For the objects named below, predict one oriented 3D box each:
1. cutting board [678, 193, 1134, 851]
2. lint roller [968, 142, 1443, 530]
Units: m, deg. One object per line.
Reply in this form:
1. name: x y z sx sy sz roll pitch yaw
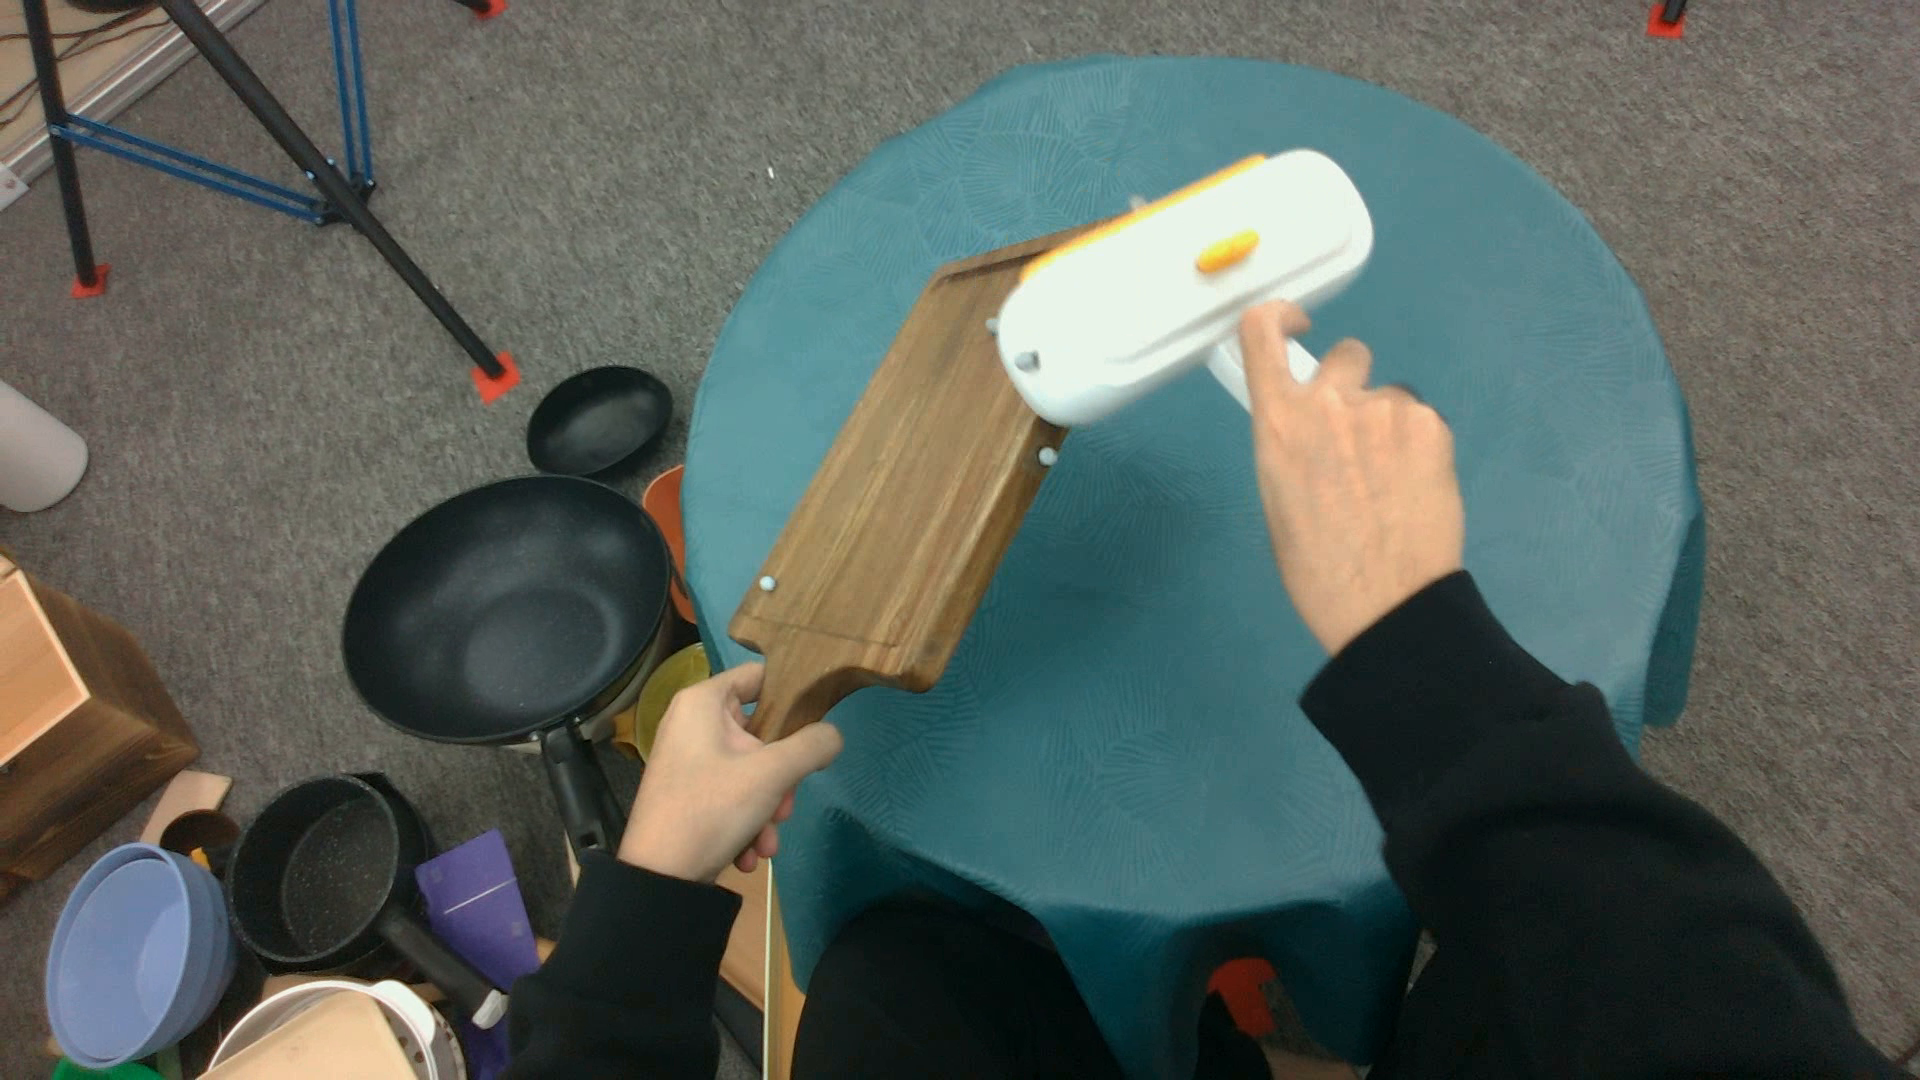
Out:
1. cutting board: -0.045 -0.013 0.682 0.200 0.023 0.353 3 62 56
2. lint roller: 0.127 -0.076 0.596 0.193 0.074 0.192 -31 79 -30
